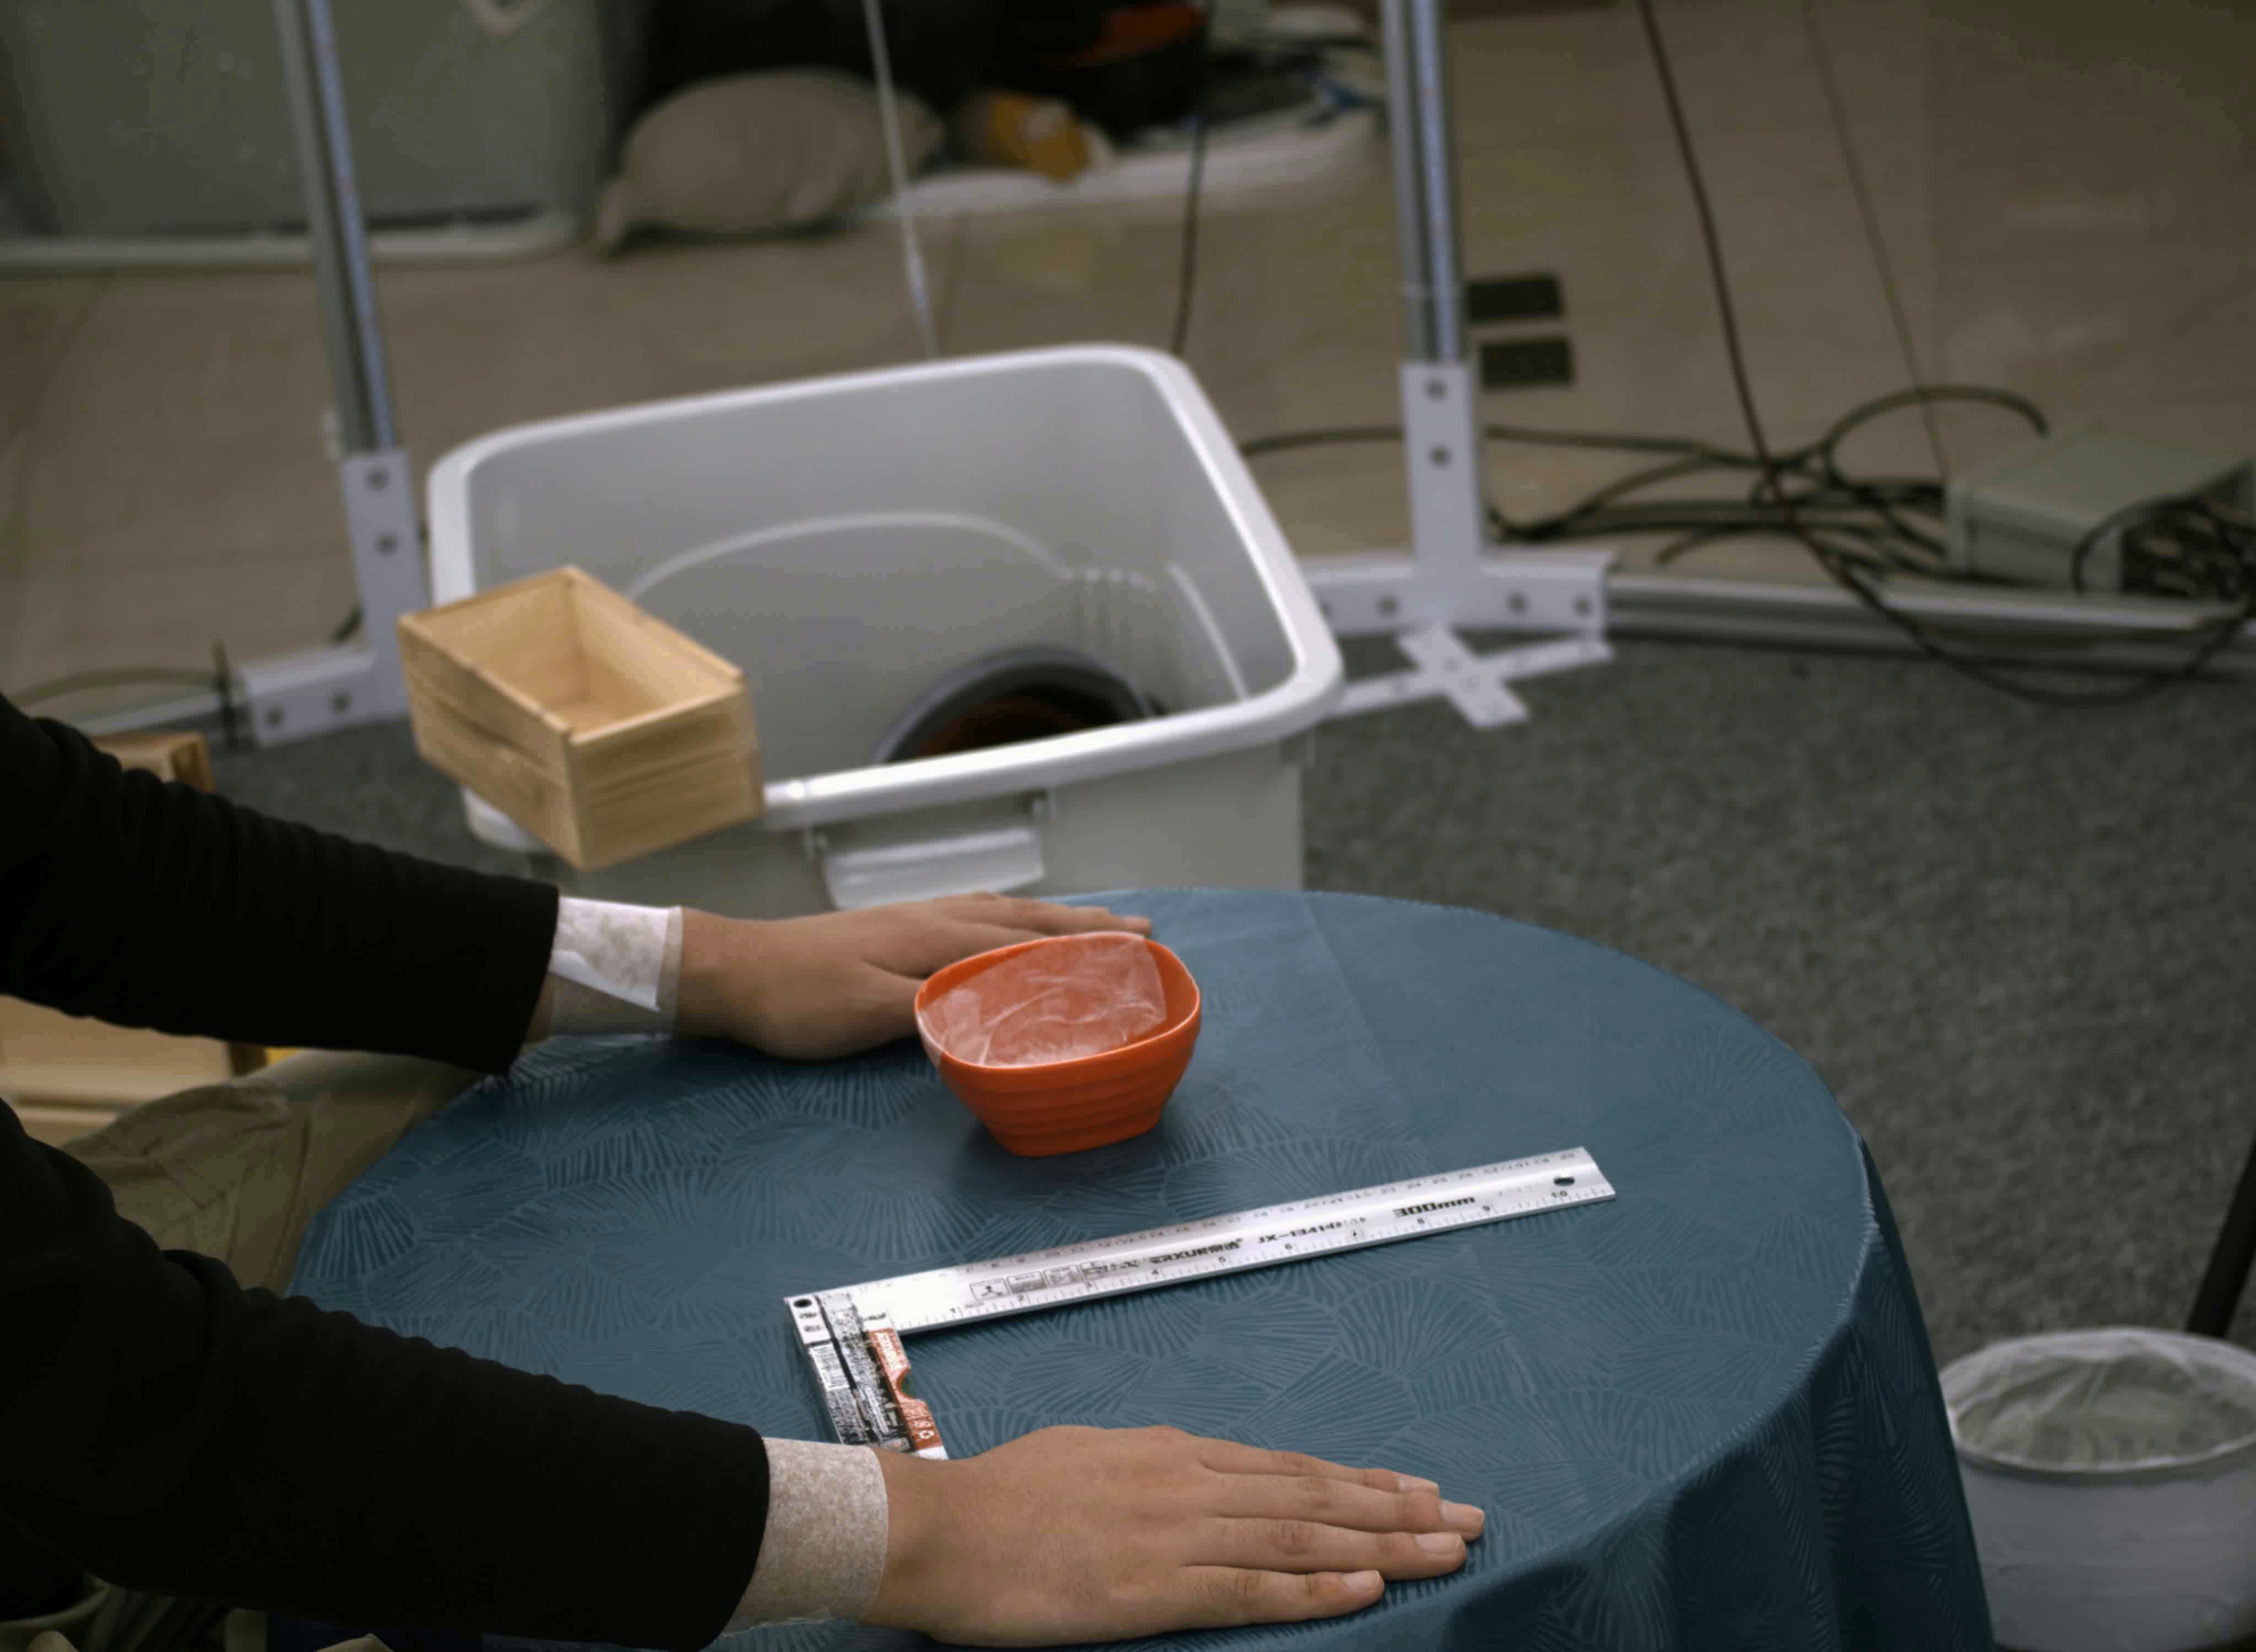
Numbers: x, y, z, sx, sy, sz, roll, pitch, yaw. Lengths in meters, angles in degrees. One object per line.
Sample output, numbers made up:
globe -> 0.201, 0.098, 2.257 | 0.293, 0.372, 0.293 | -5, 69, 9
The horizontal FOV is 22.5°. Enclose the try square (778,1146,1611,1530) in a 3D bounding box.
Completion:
try square -> 0.036, 0.180, 2.050 | 0.312, 0.016, 0.150 | -10, 29, -10

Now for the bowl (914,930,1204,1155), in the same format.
bowl -> -0.025, 0.089, 2.200 | 0.119, 0.052, 0.117 | -4, 26, 2
